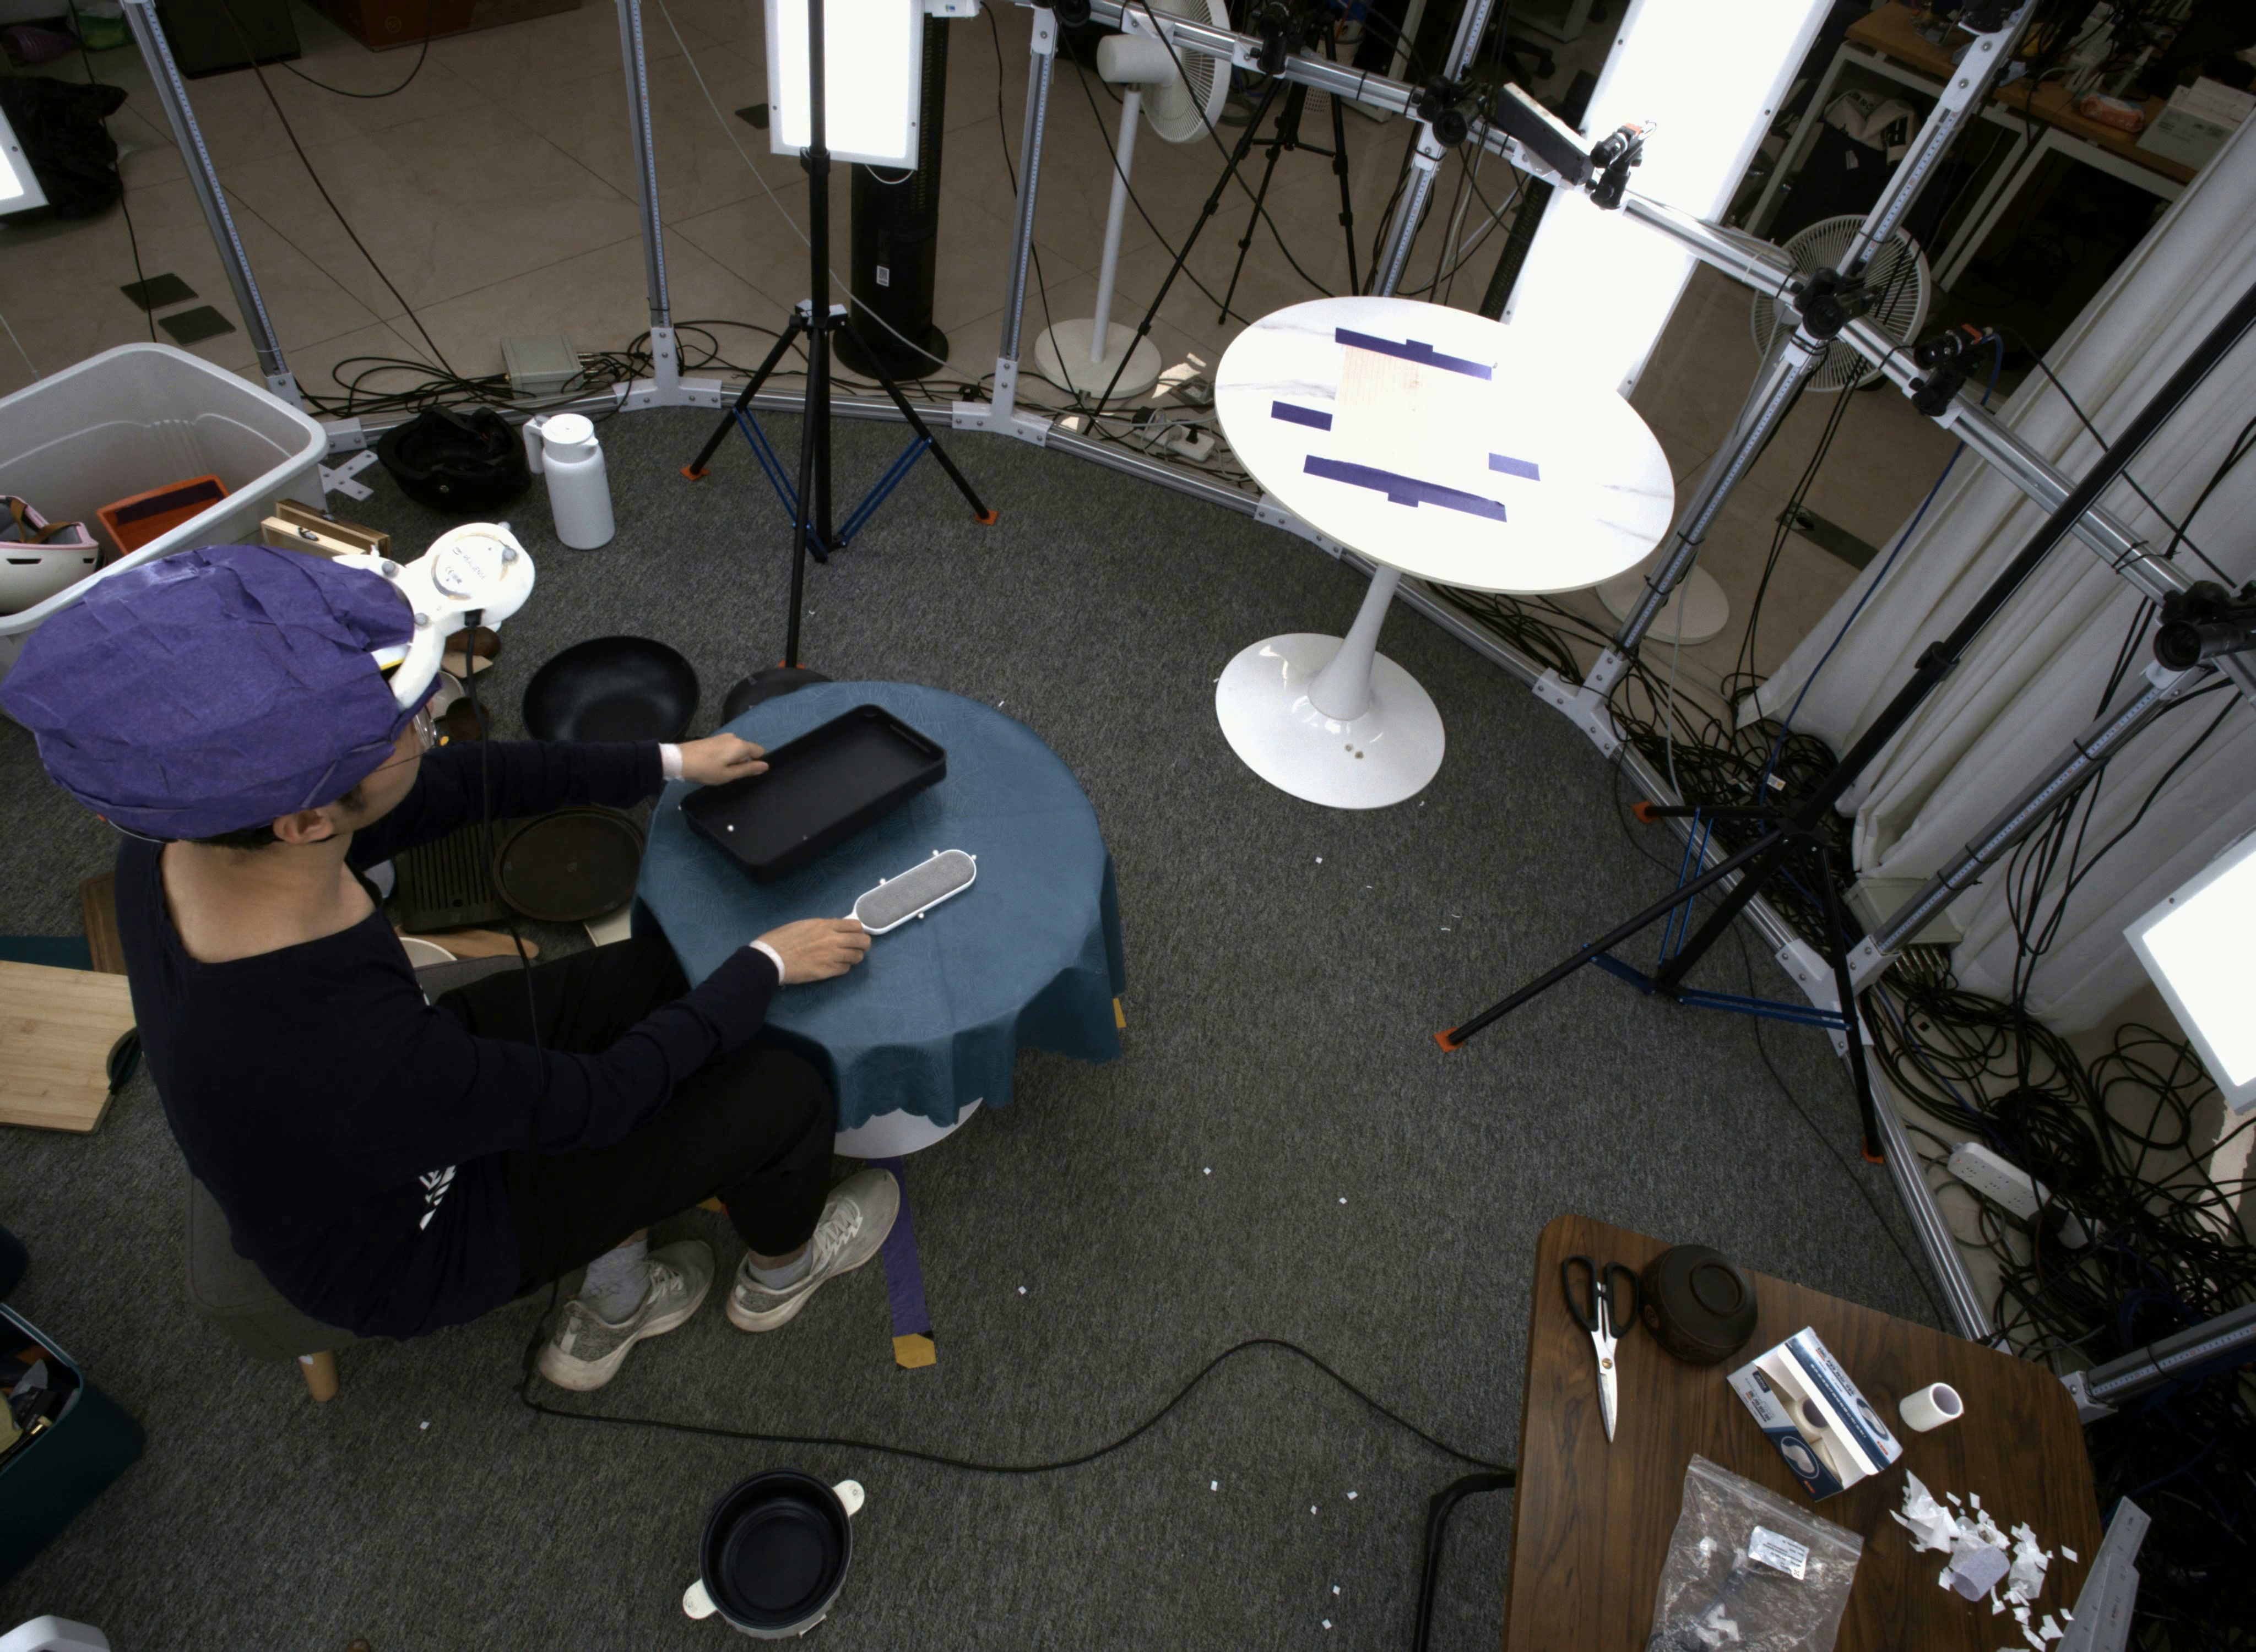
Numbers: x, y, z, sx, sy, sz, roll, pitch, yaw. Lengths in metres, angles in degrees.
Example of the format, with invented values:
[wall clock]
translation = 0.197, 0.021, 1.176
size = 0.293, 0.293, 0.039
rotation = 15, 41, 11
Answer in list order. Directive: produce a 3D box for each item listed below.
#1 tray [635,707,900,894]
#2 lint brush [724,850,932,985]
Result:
[tray]
translation = -0.468, -0.041, 1.695
size = 0.178, 0.038, 0.319
rotation = 33, 50, 28
[lint brush]
translation = -0.375, 0.112, 1.639
size = 0.310, 0.021, 0.060
rotation = -32, 81, -33
